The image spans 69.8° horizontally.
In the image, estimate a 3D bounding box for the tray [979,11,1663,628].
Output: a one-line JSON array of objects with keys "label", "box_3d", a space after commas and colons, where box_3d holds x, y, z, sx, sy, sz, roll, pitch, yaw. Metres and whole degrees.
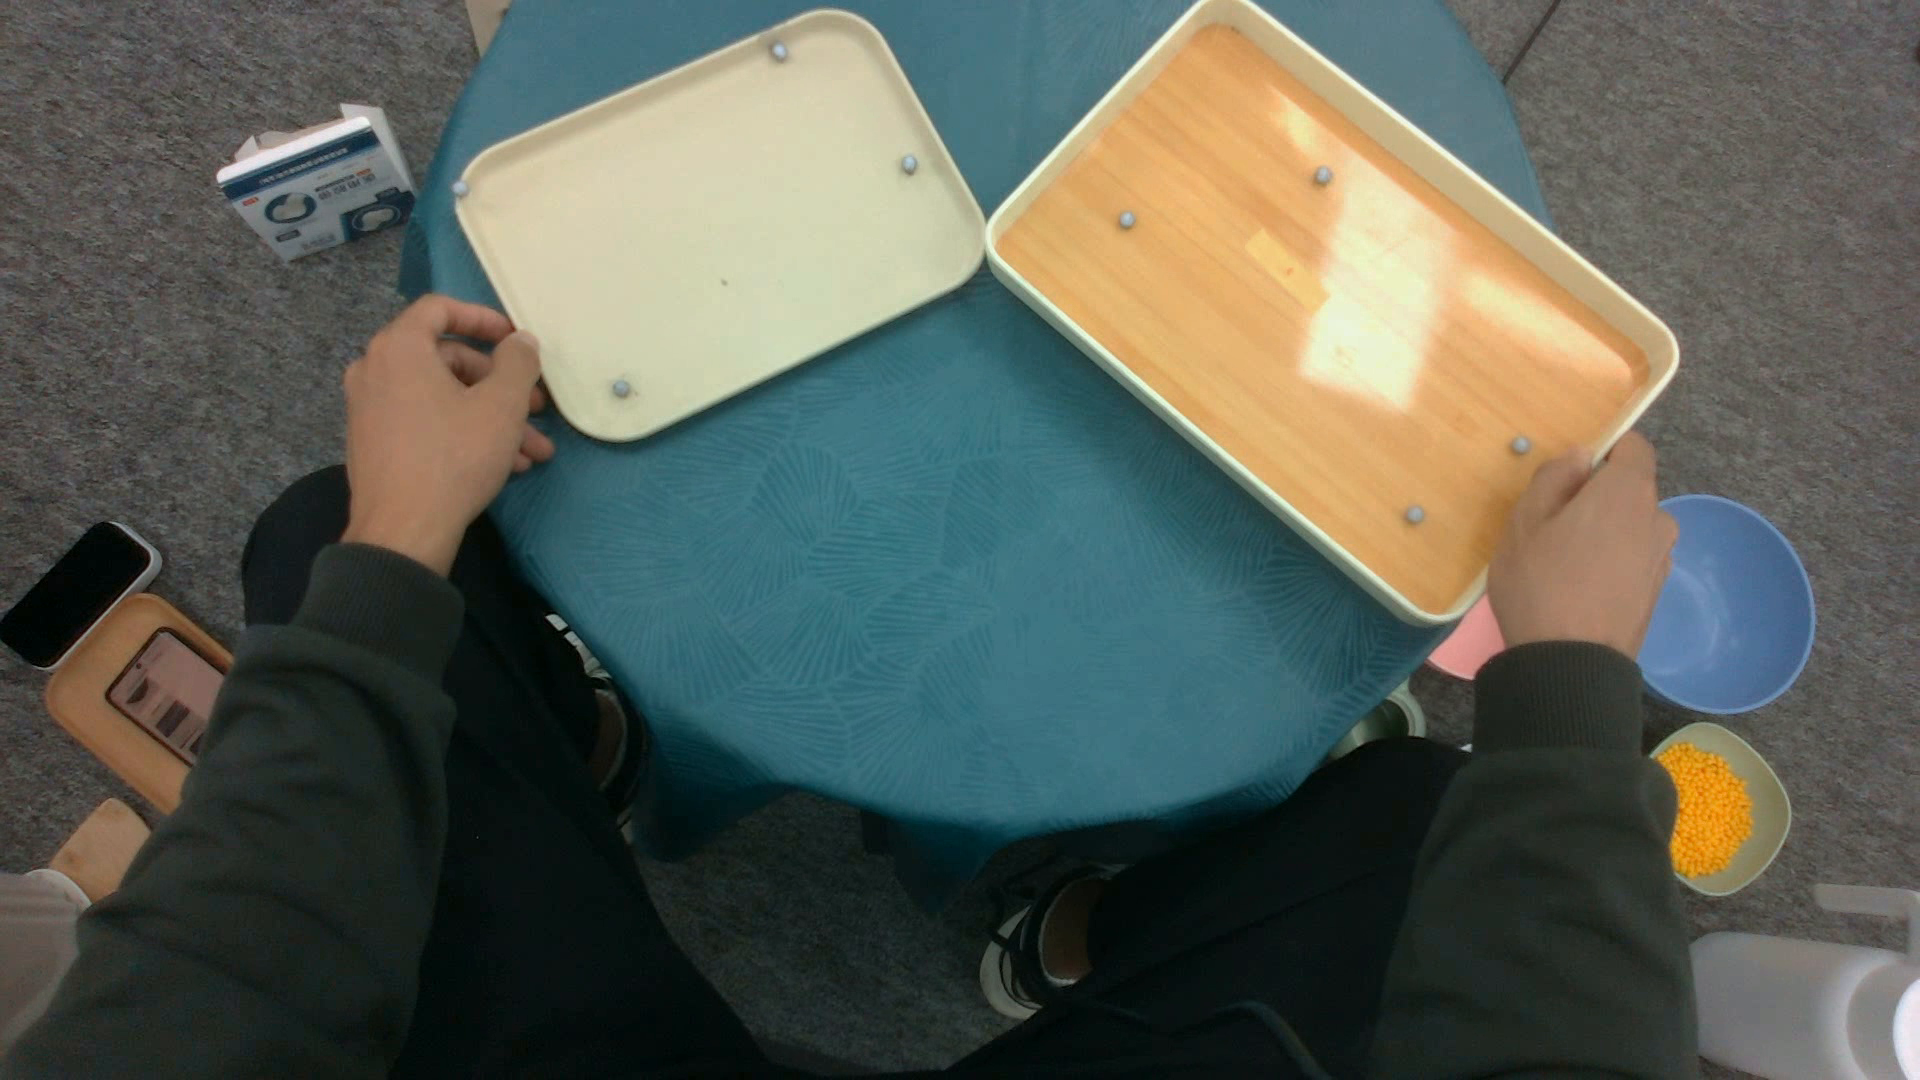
[{"label": "tray", "box_3d": [0.177, -0.116, 0.697, 0.300, 0.027, 0.192, 41, 83, 10]}]

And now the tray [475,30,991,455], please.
[{"label": "tray", "box_3d": [-0.117, -0.159, 0.727, 0.240, 0.017, 0.171, -28, 82, -11]}]
